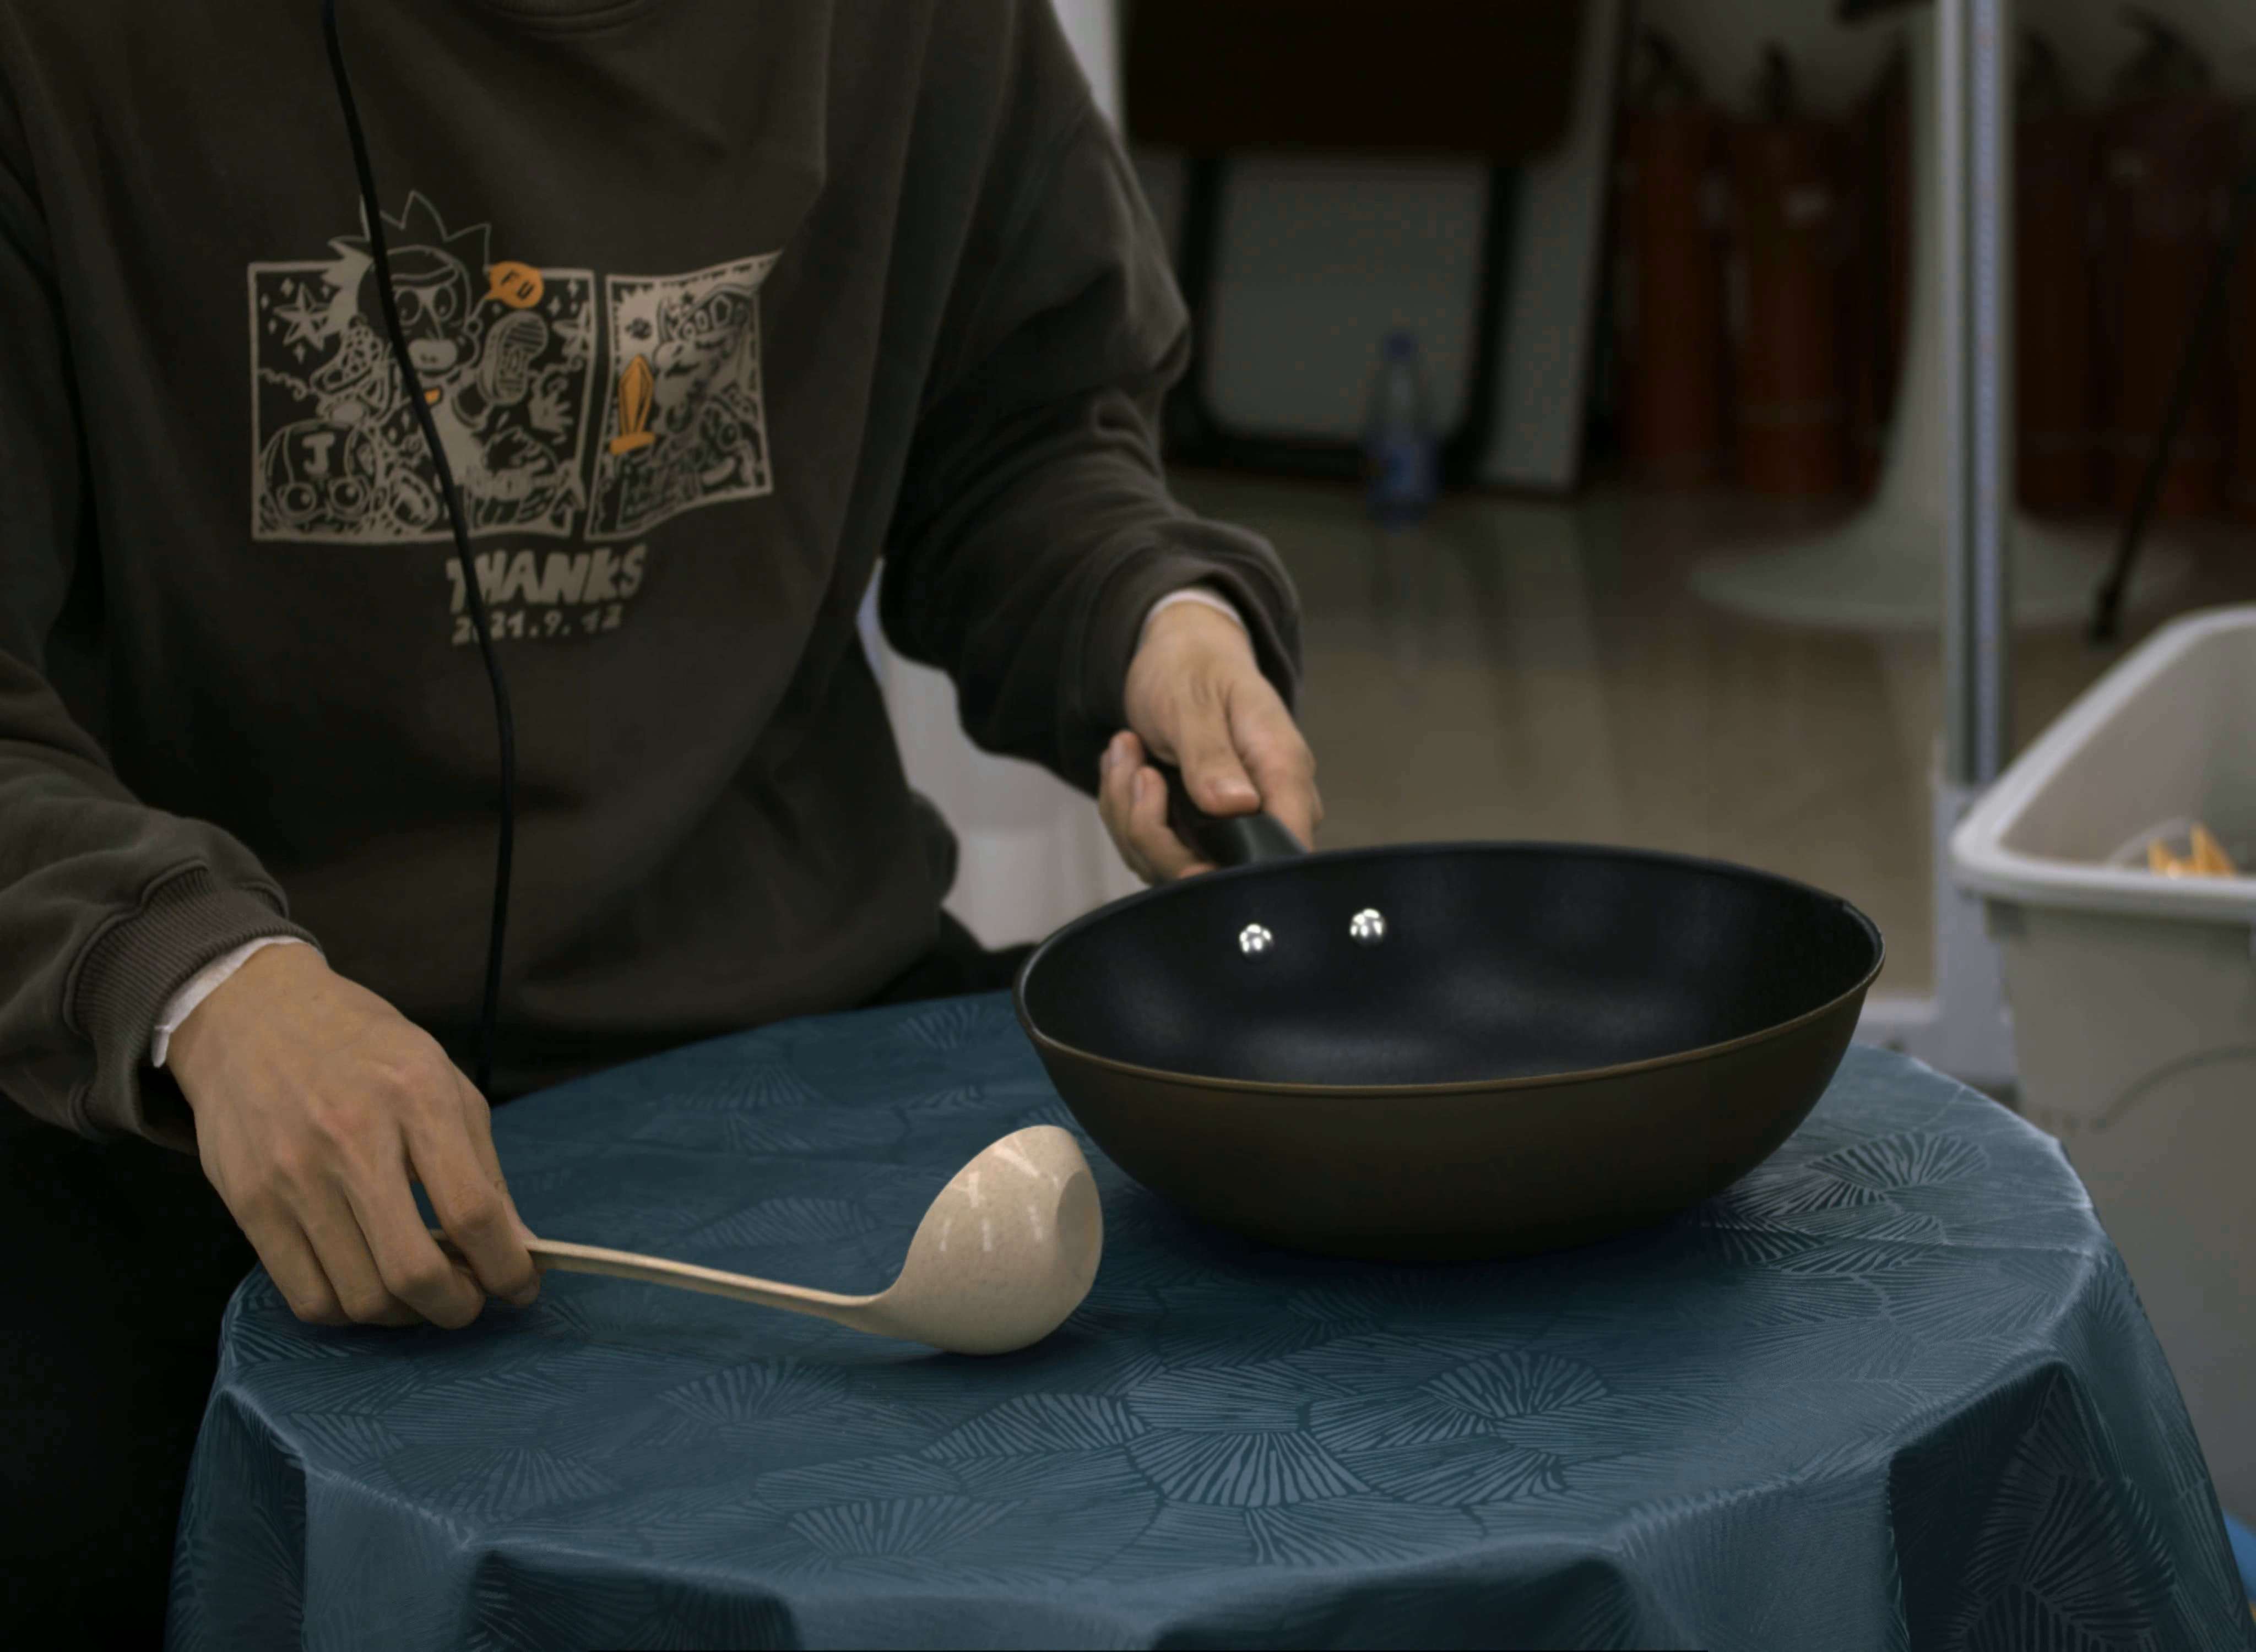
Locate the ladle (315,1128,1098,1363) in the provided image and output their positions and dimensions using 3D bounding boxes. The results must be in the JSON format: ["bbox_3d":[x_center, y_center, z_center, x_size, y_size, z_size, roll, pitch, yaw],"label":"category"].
[{"bbox_3d":[-0.130,0.114,1.658,0.254,0.073,0.071,7,-19,24],"label":"ladle"}]

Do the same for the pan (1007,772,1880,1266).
[{"bbox_3d":[0.074,0.062,1.821,0.282,0.088,0.467,-8,14,-16],"label":"pan"}]
